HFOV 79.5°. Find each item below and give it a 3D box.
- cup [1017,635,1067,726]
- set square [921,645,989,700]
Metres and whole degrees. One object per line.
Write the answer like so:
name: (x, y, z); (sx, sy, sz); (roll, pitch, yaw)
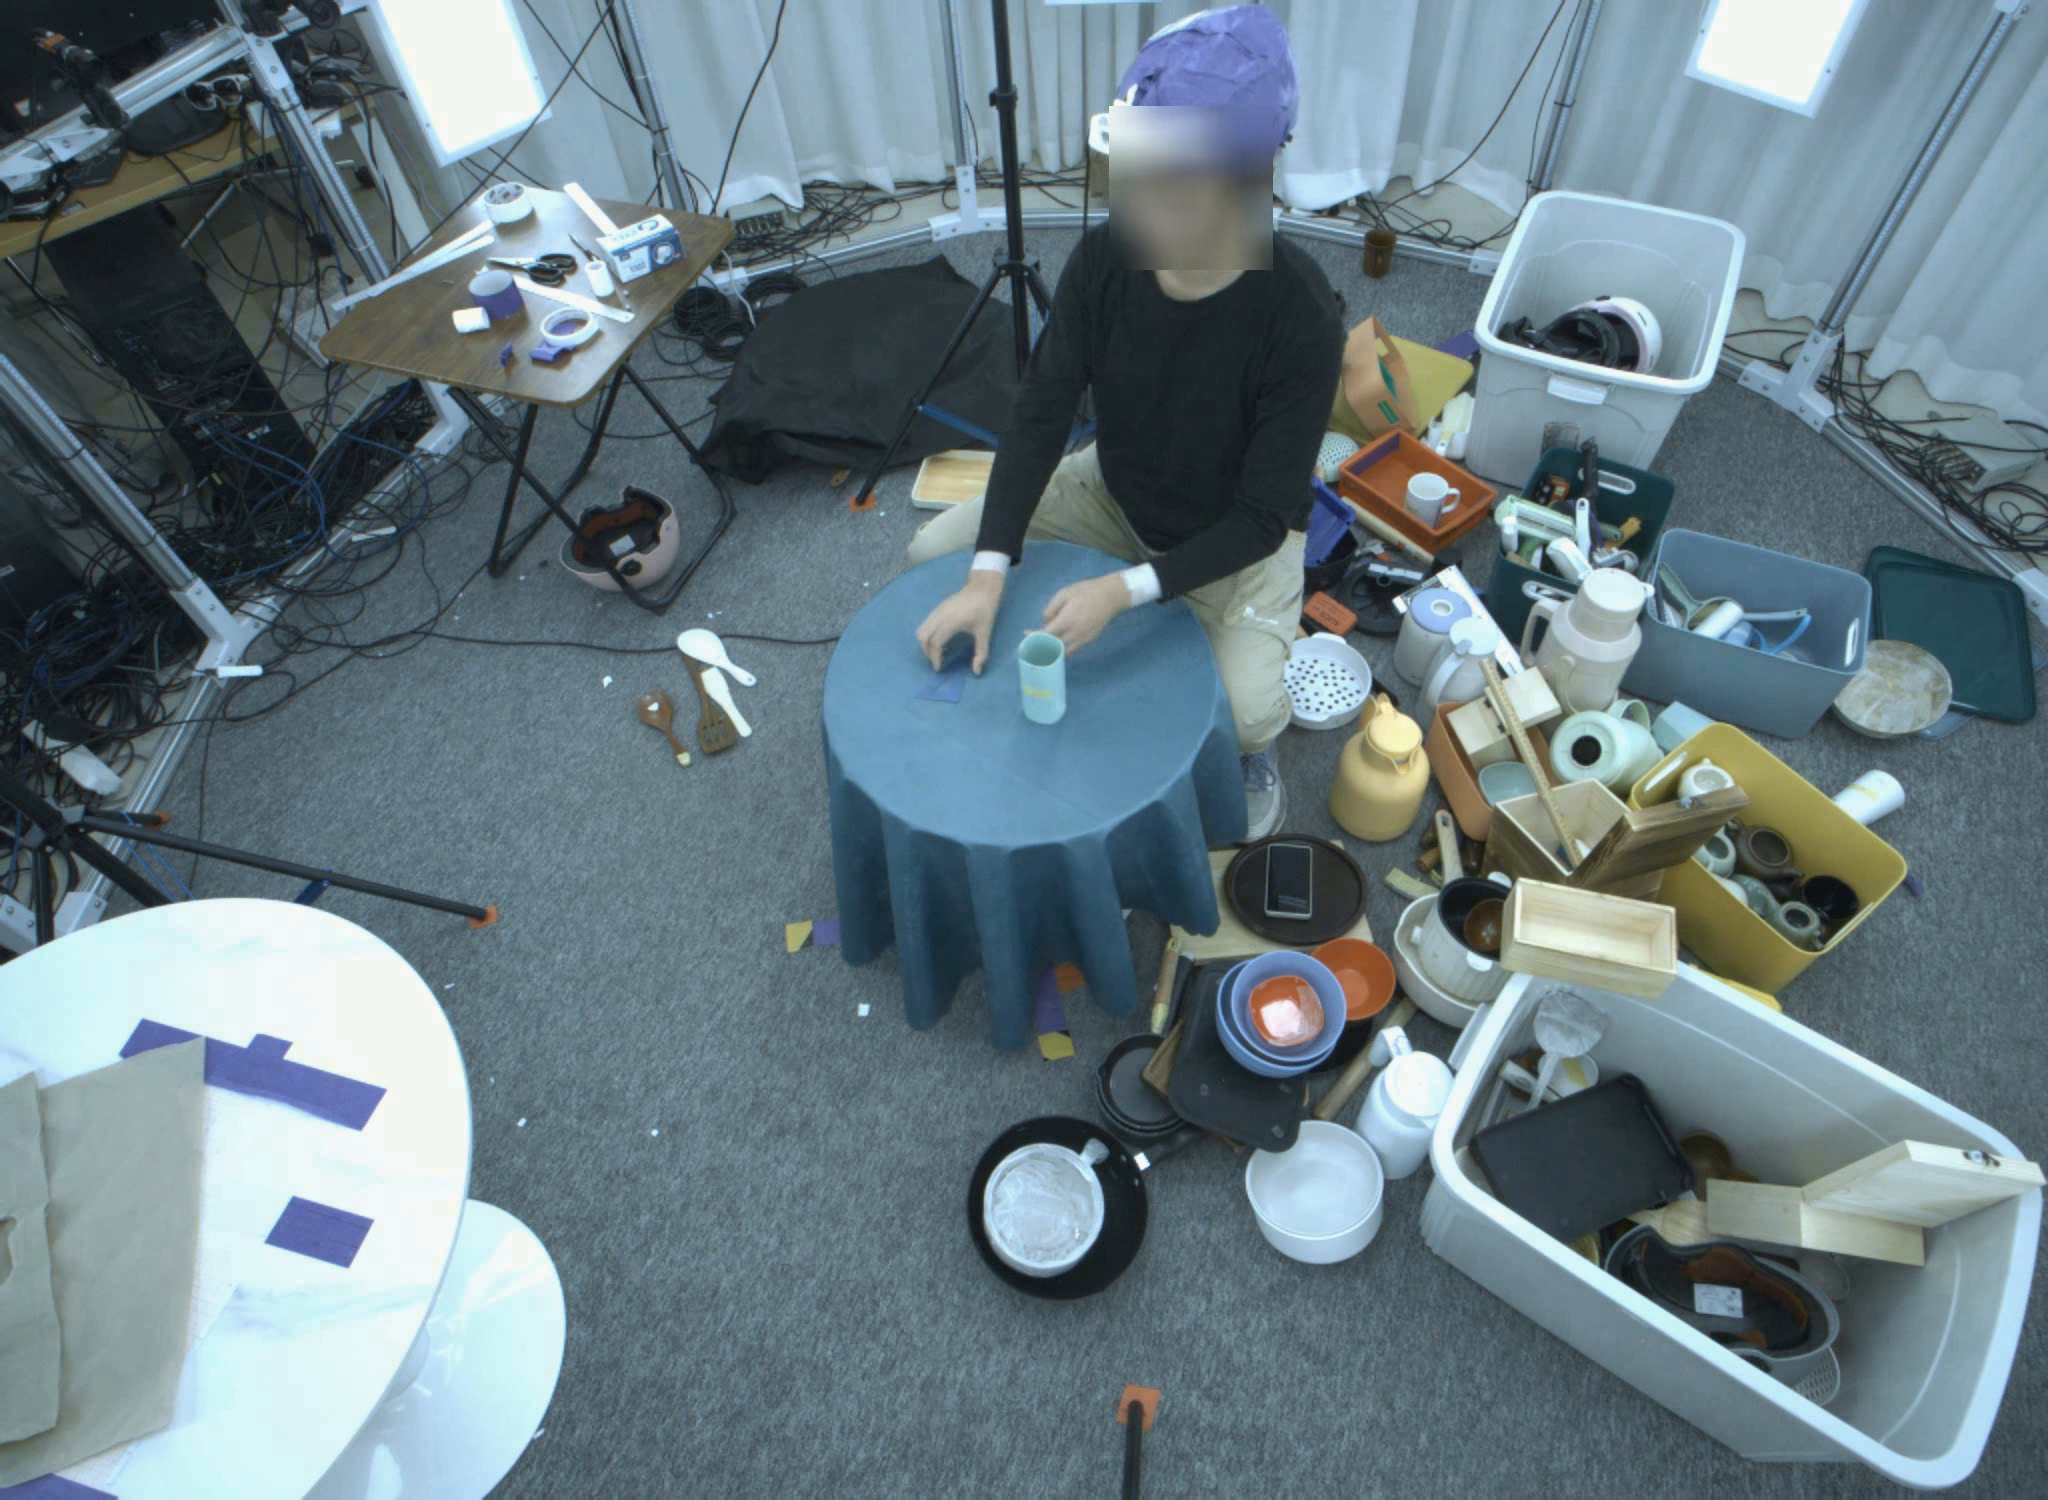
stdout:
cup: (0.029, -0.100, 1.782); (0.066, 0.134, 0.066); (-2, 55, 4)
set square: (-0.090, -0.112, 1.866); (0.133, 0.006, 0.060); (-40, 59, -23)
